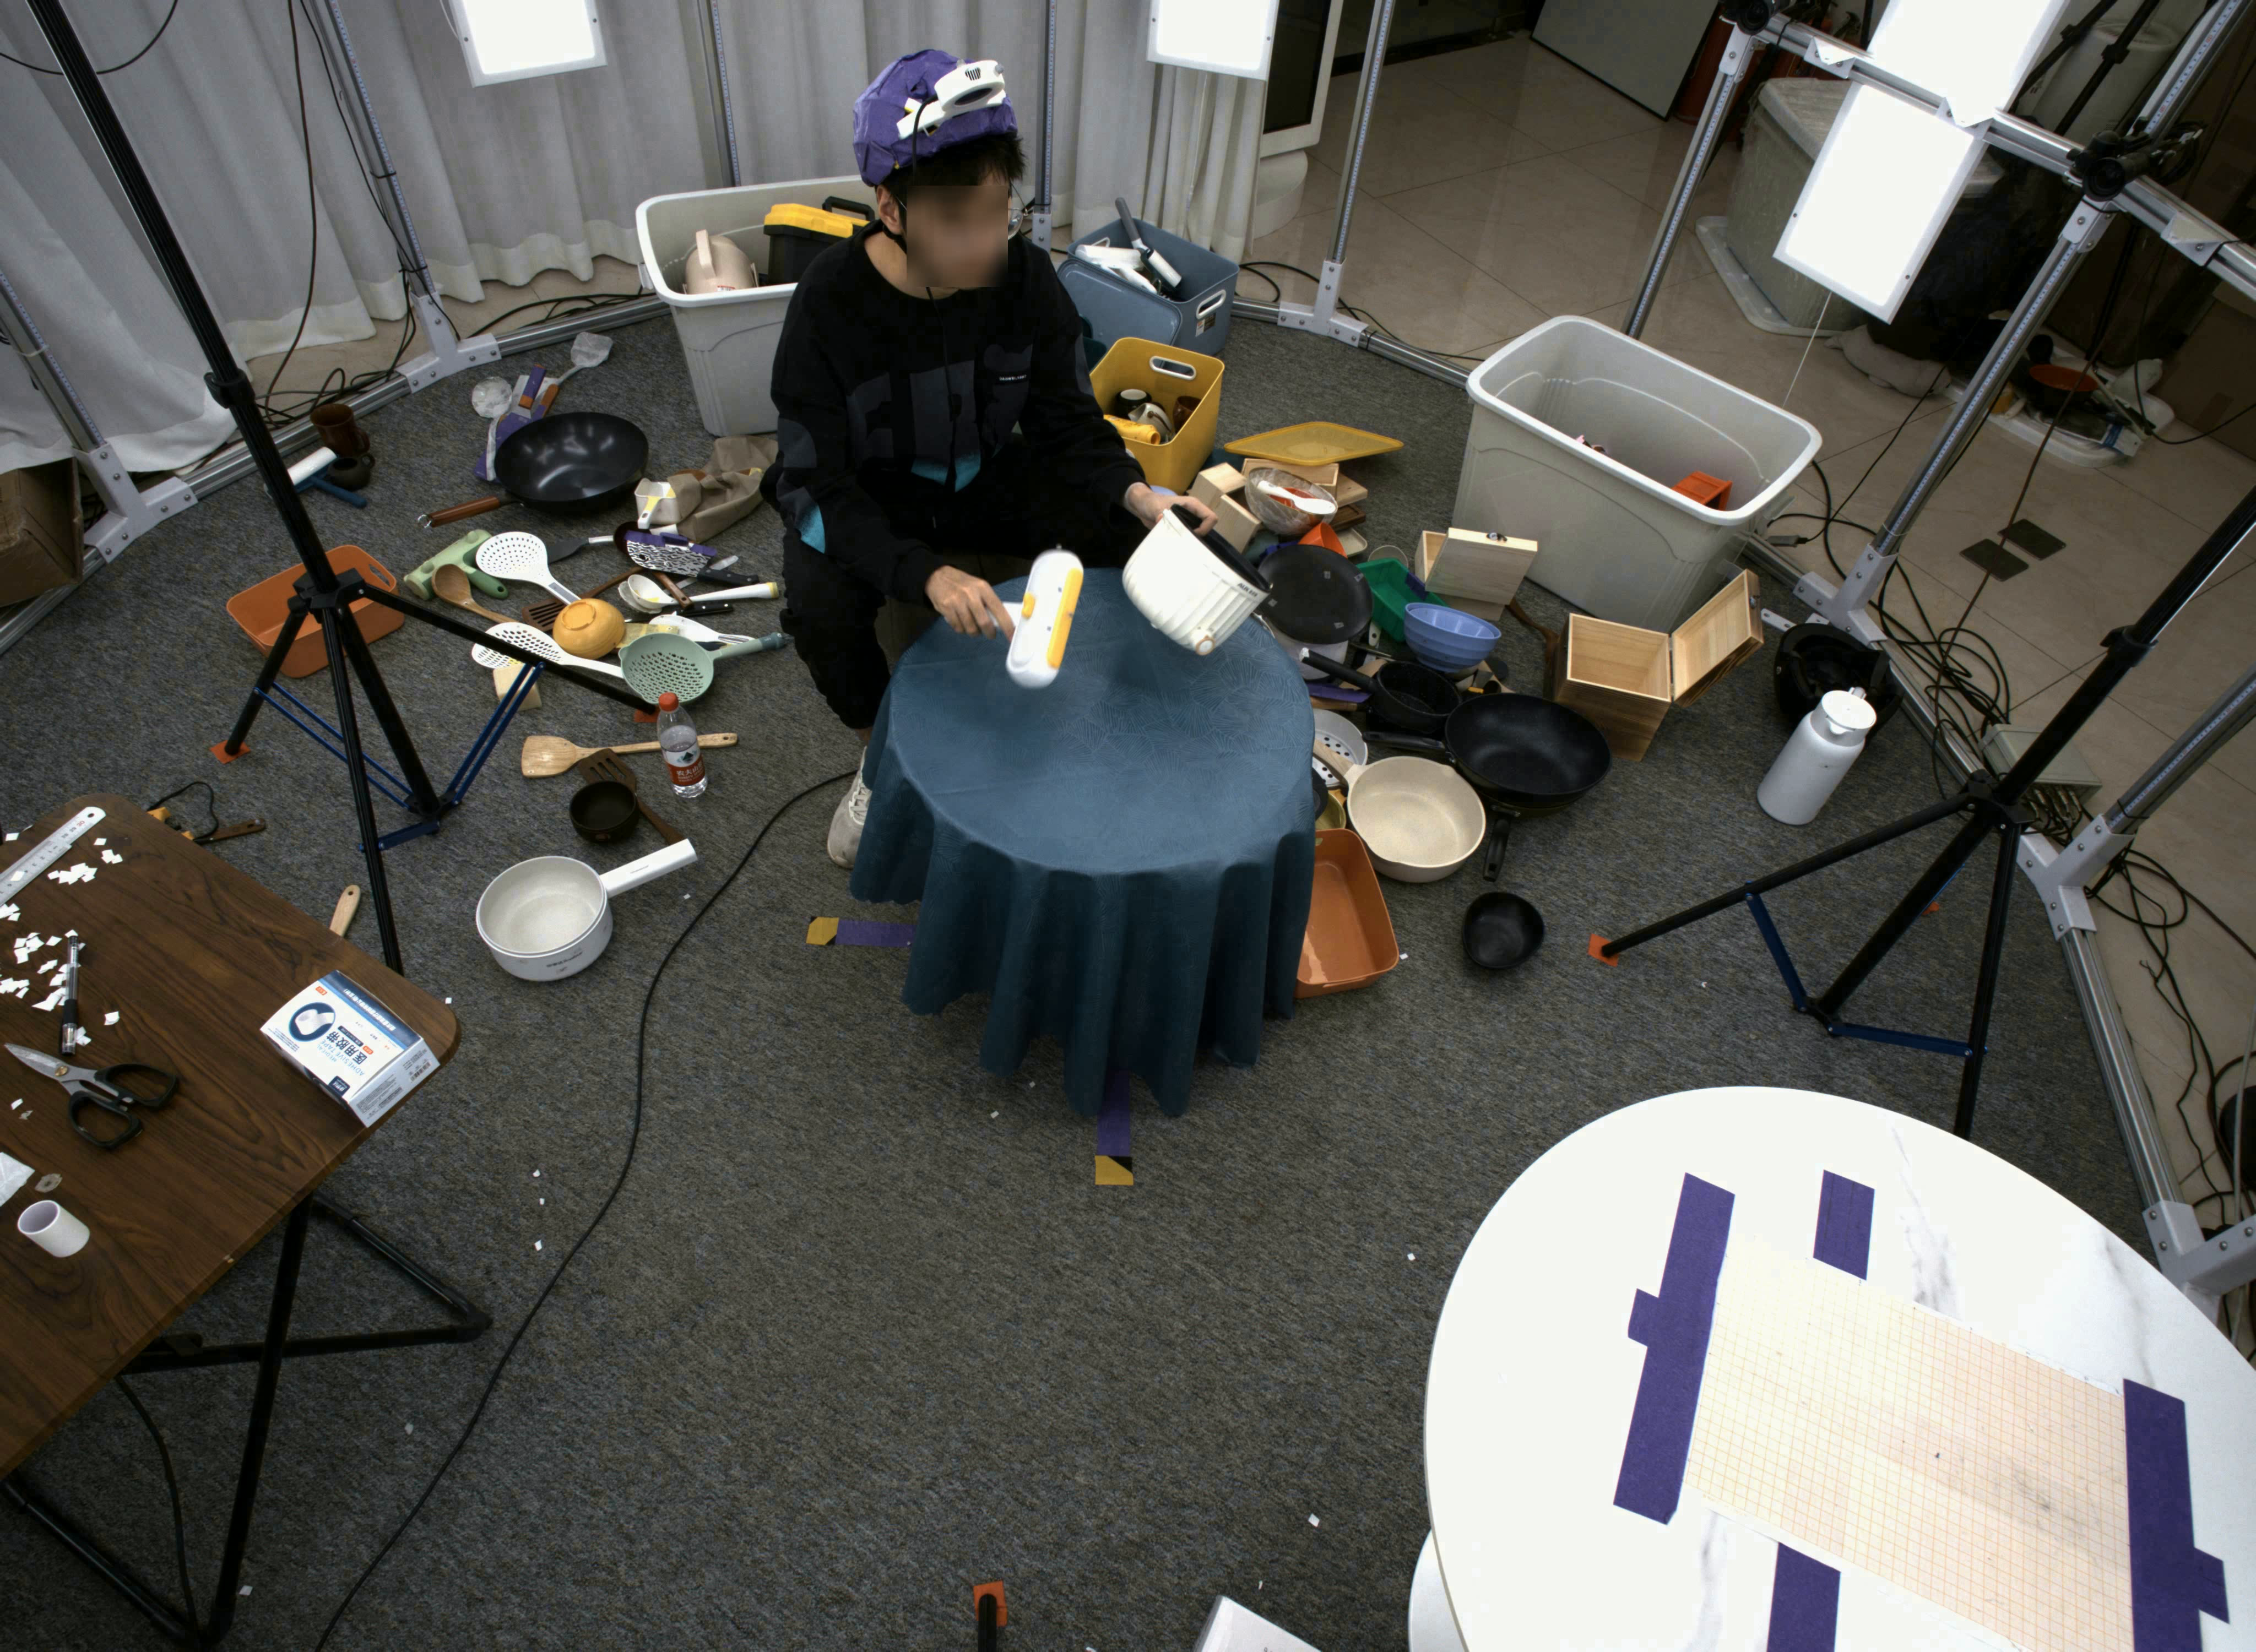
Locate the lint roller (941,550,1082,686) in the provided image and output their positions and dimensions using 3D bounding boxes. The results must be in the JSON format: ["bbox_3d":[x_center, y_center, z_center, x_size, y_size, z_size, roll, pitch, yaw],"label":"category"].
[{"bbox_3d":[-0.164,-0.284,1.750,0.193,0.073,0.195,1,73,32],"label":"lint roller"}]

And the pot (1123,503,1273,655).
[{"bbox_3d":[0.093,-0.335,1.791,0.237,0.141,0.195,20,25,-45],"label":"pot"}]
